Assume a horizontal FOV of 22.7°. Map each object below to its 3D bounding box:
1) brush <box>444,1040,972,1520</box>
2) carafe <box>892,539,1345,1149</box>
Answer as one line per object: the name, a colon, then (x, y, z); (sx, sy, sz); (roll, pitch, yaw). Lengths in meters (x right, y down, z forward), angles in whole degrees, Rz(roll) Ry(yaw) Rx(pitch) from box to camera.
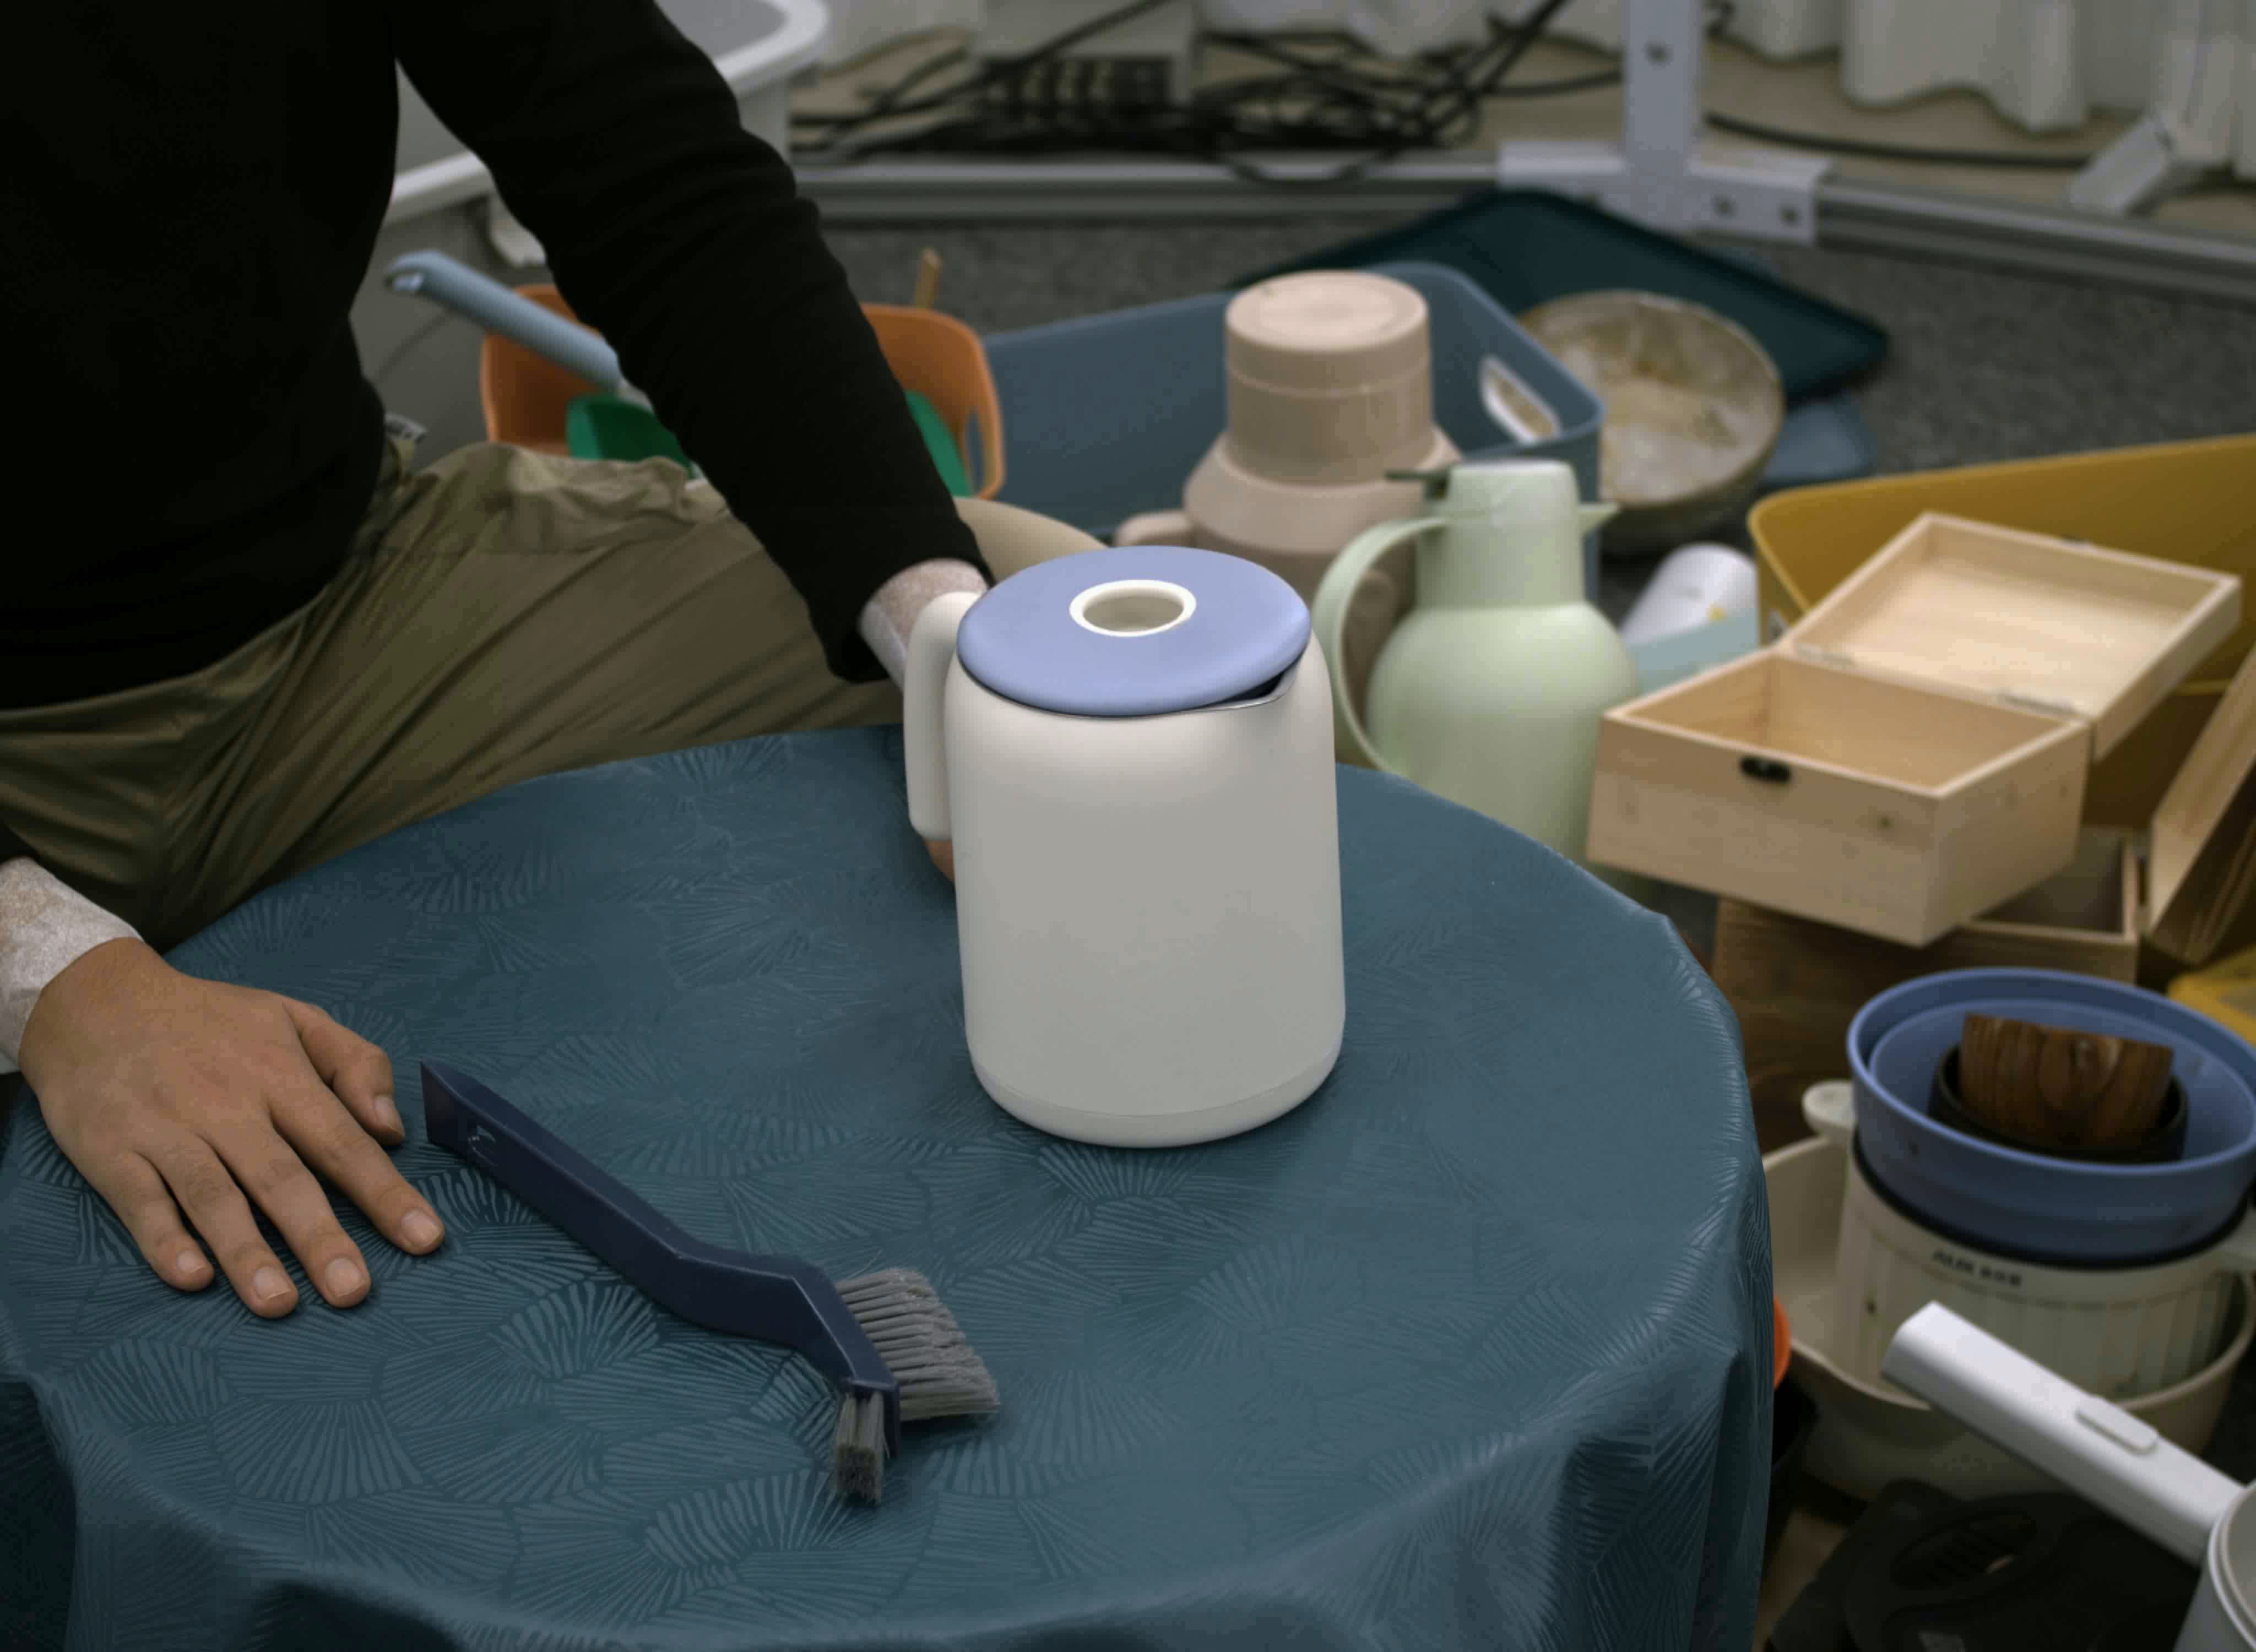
brush: (-0.154, 0.141, 1.806); (0.273, 0.033, 0.097); (23, 40, 39)
carafe: (-0.011, -0.002, 1.916); (0.134, 0.181, 0.190); (-26, 33, -38)
